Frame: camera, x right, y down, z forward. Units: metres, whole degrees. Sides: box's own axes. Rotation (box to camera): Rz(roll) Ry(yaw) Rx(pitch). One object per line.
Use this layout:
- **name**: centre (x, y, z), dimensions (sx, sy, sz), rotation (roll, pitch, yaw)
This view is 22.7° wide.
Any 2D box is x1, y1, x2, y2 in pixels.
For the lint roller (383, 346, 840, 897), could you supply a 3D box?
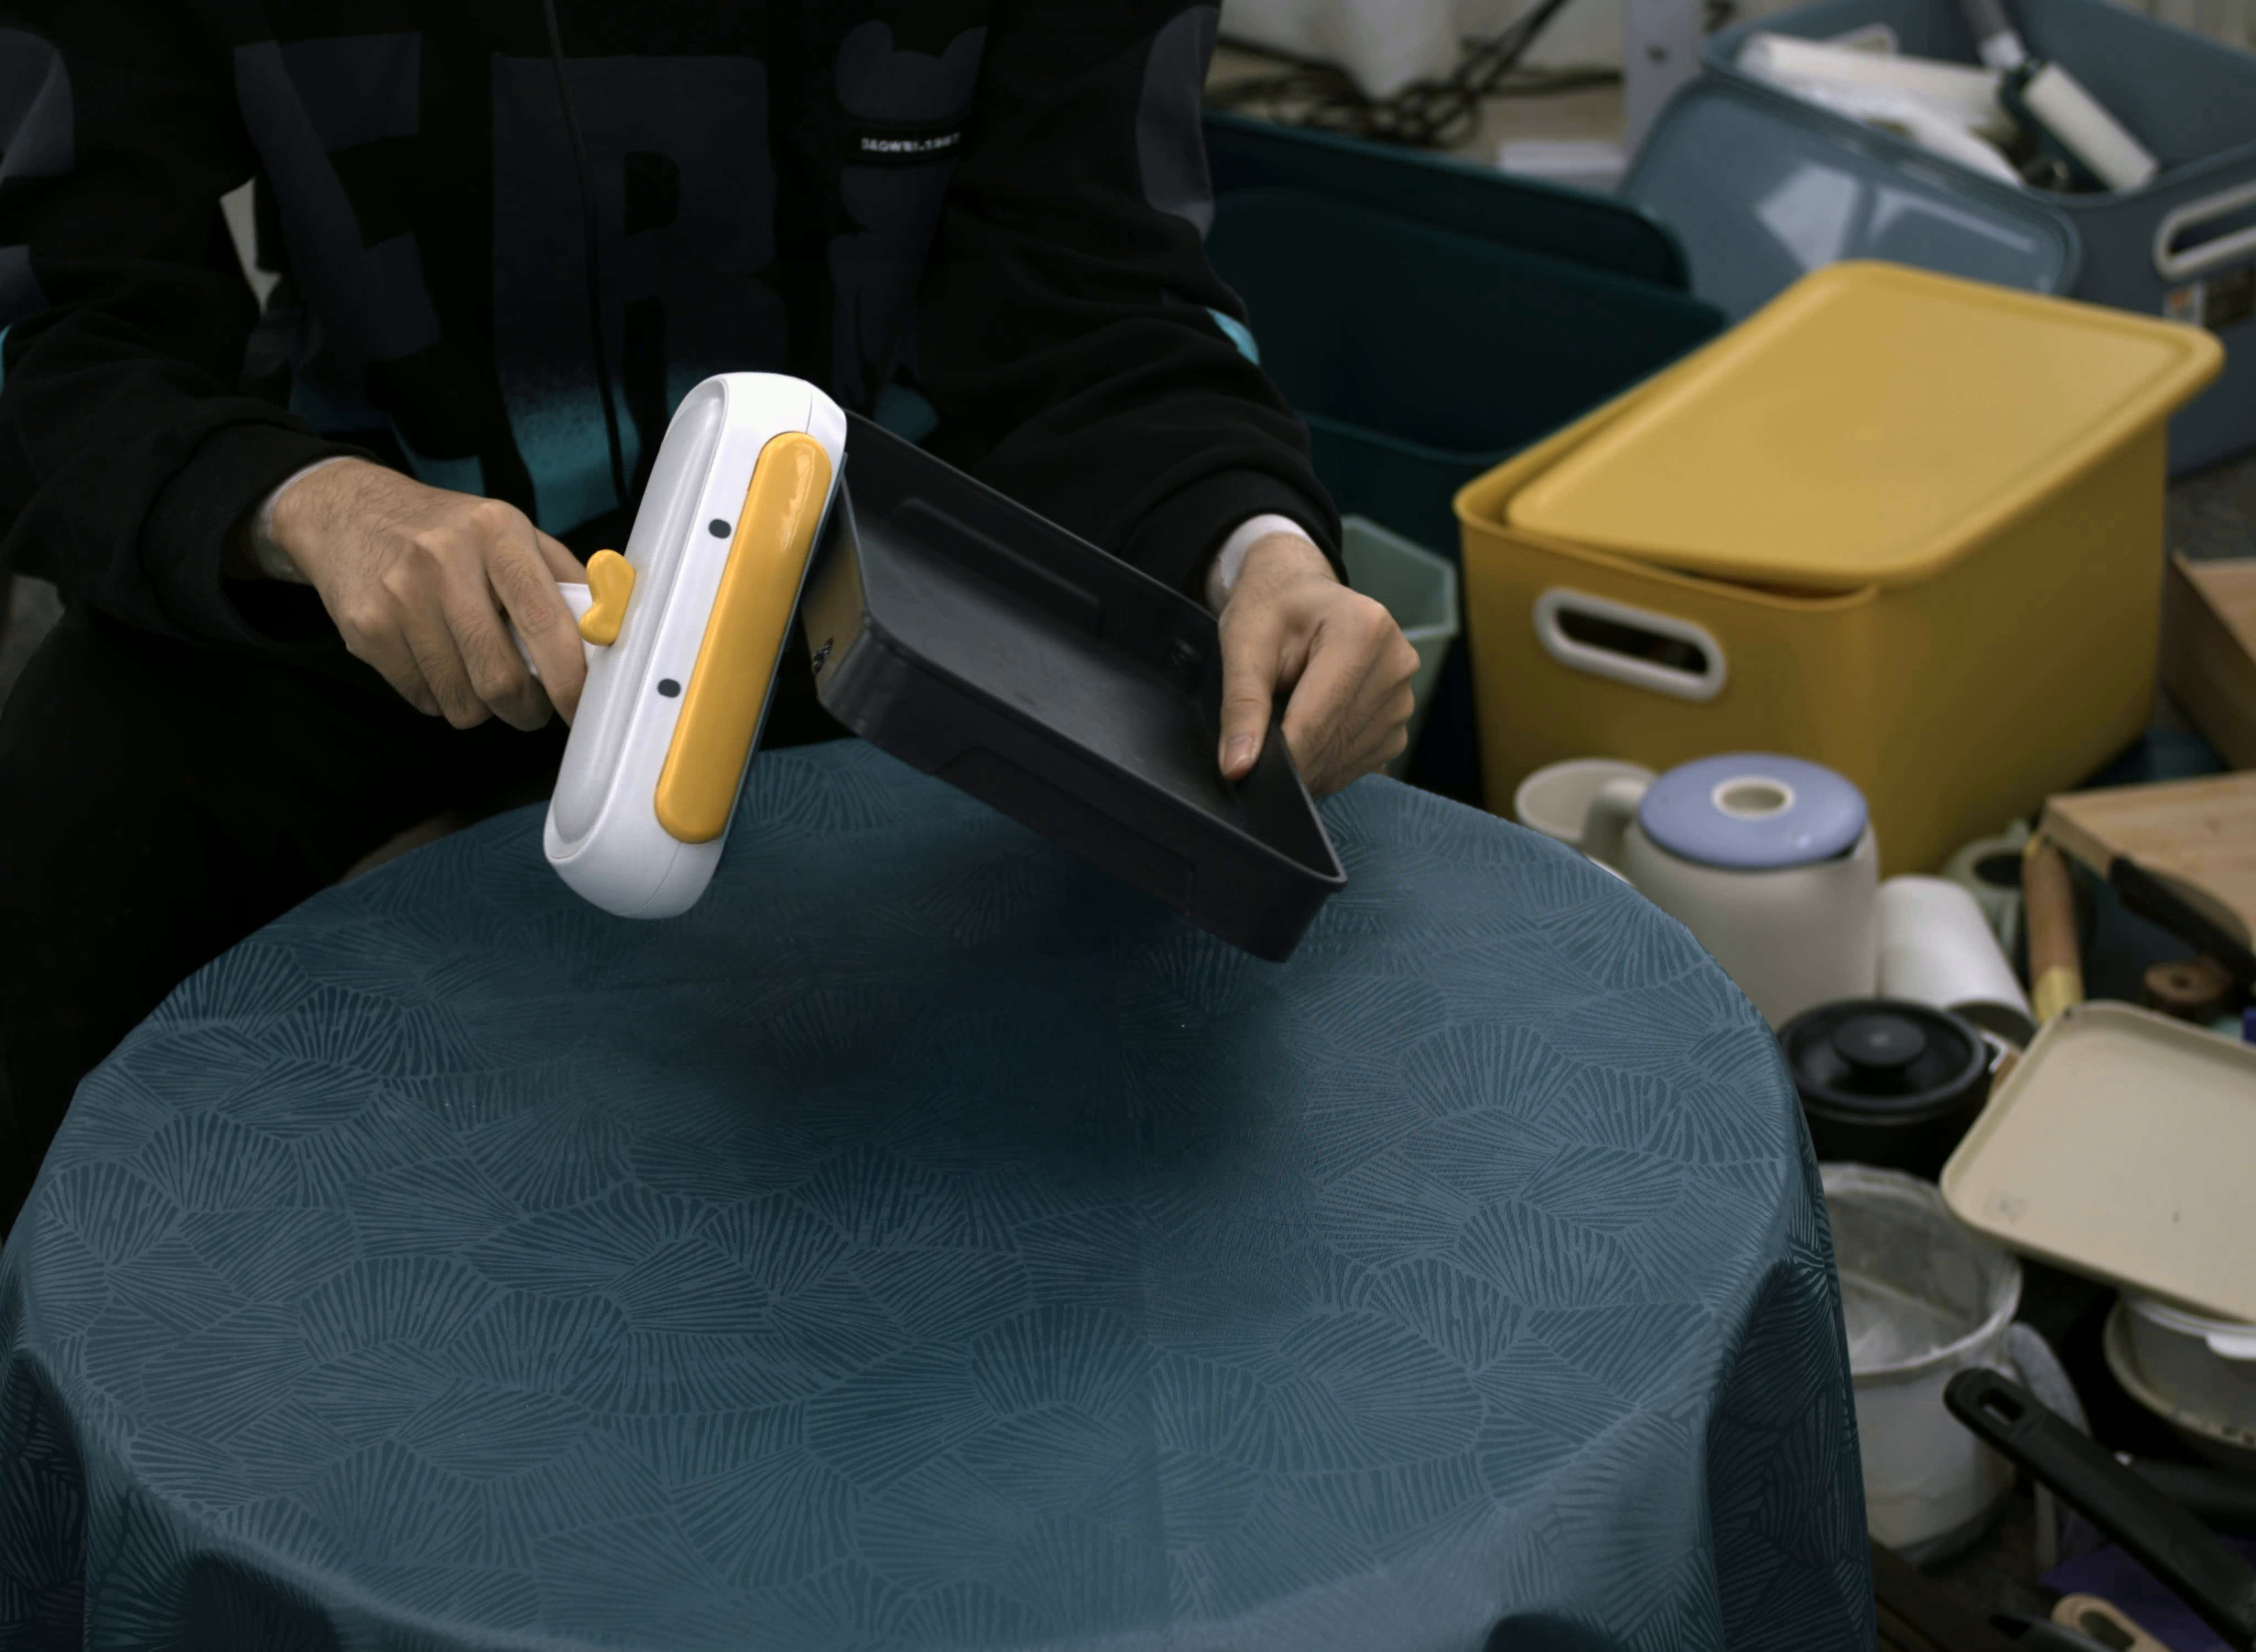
- **lint roller**: centre (-0.185, -0.067, 1.938), dimensions (0.074, 0.195, 0.190), rotation (21, -19, -34)

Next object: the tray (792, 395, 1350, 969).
- **tray**: centre (-0.030, -0.055, 1.935), dimensions (0.183, 0.037, 0.321), rotation (29, 13, -15)
